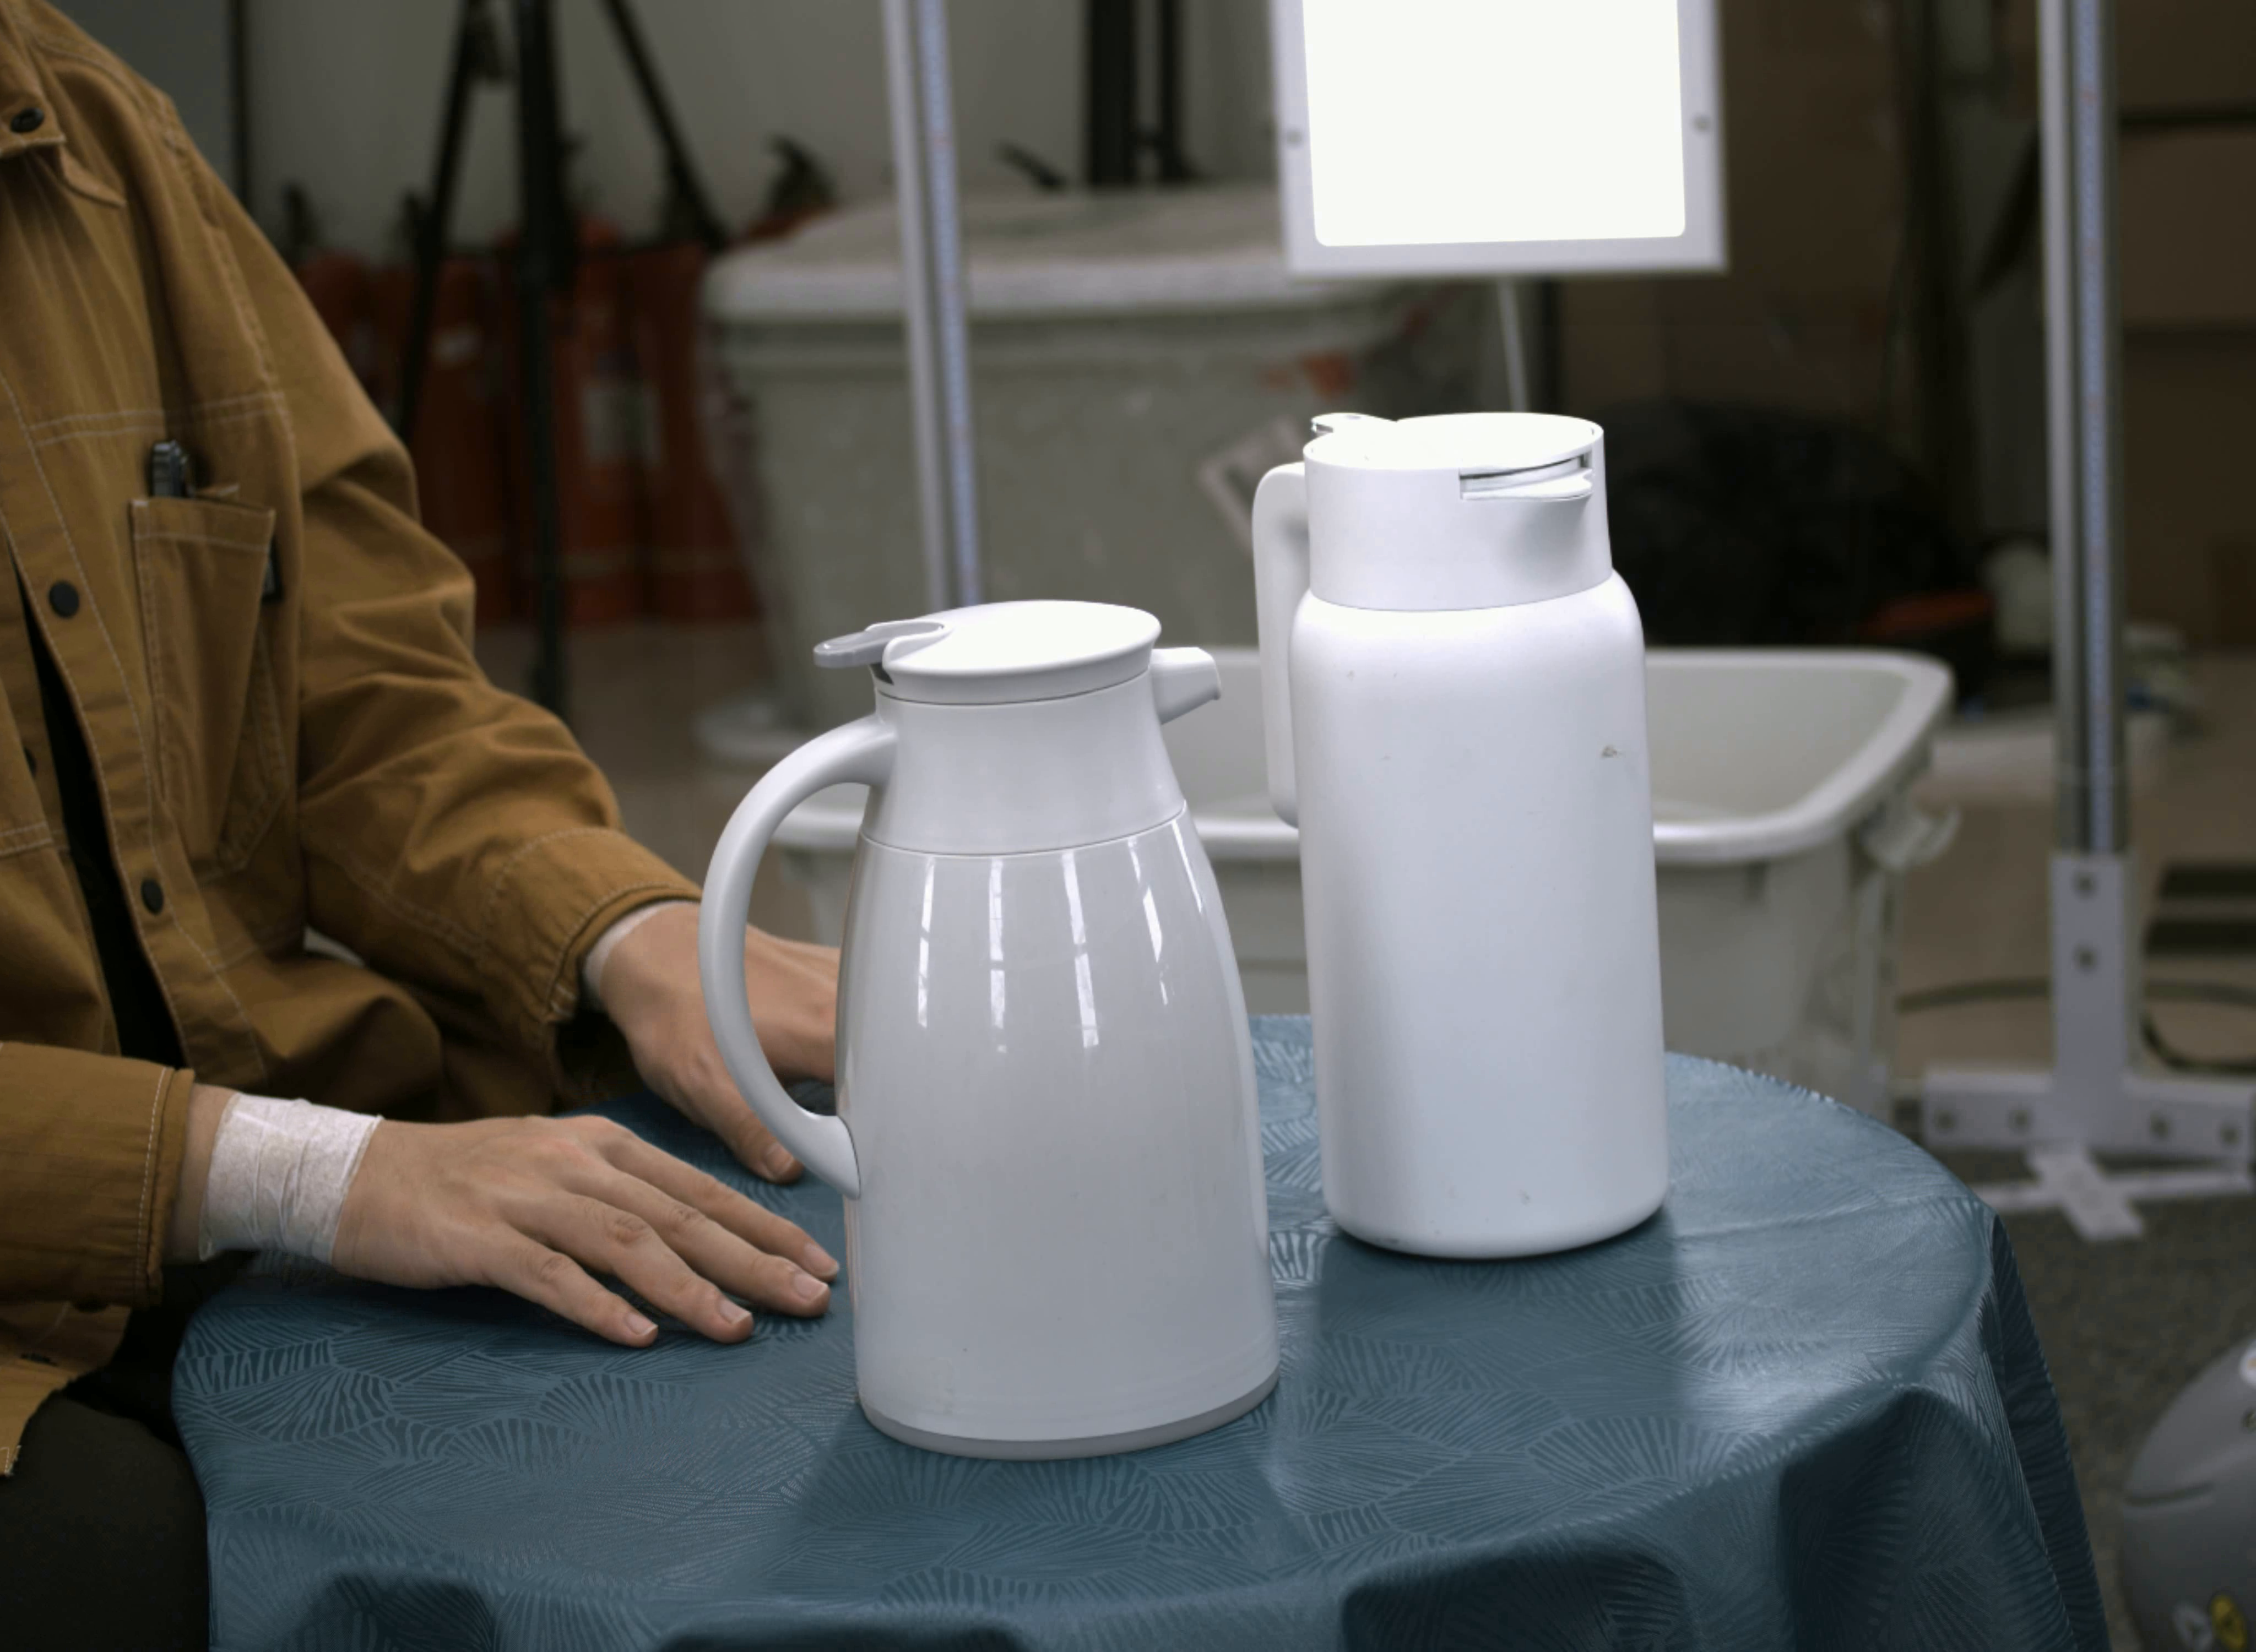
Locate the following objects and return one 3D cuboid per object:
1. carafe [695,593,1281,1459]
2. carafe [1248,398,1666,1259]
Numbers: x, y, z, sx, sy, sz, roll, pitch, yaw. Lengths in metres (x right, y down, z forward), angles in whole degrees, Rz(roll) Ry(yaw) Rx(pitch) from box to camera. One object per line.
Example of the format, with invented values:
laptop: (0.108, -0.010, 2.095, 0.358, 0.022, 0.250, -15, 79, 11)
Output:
carafe: (-0.046, 0.057, 1.676, 0.165, 0.249, 0.134, -9, 14, -13)
carafe: (0.103, -0.002, 1.822, 0.121, 0.270, 0.176, -15, 17, -29)
